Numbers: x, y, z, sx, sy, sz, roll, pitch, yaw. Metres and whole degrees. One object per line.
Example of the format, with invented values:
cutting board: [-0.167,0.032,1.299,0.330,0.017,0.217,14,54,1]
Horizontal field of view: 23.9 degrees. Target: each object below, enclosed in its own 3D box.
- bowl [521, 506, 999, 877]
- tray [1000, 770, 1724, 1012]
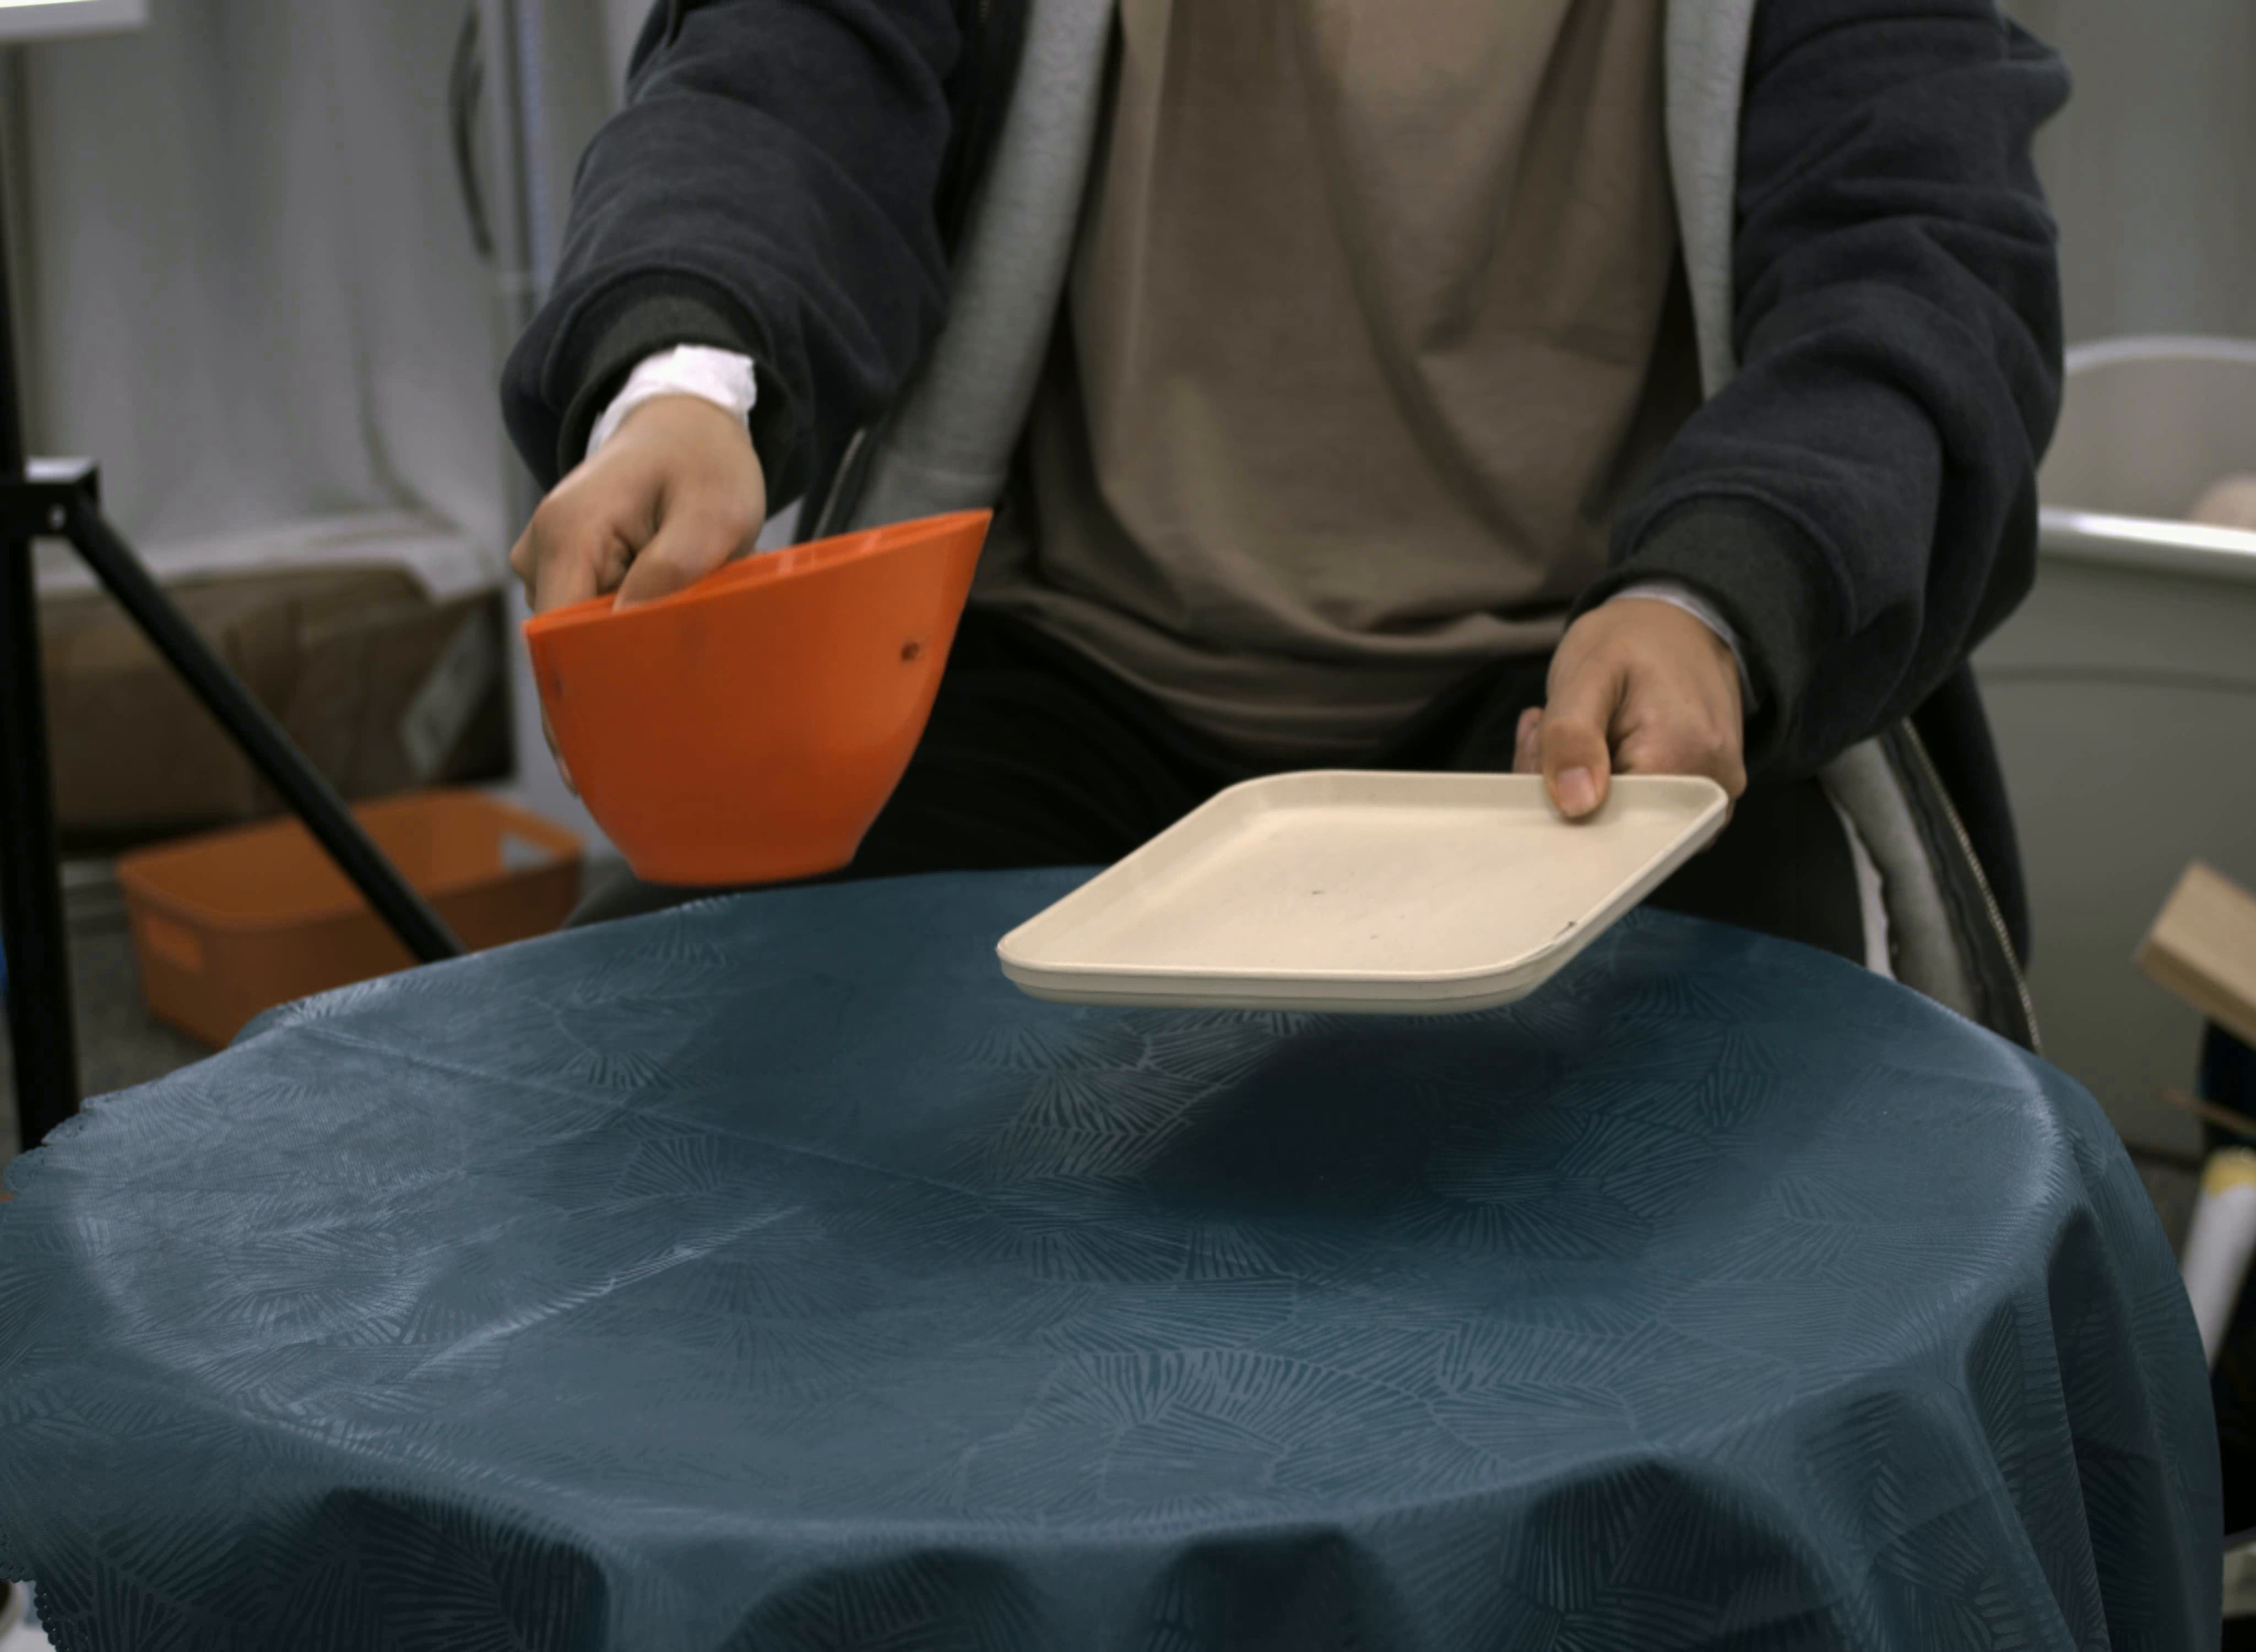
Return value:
bowl: [-0.110,-0.041,1.622,0.147,0.105,0.148,-3,9,-1]
tray: [0.075,0.019,1.607,0.173,0.017,0.236,0,14,24]
